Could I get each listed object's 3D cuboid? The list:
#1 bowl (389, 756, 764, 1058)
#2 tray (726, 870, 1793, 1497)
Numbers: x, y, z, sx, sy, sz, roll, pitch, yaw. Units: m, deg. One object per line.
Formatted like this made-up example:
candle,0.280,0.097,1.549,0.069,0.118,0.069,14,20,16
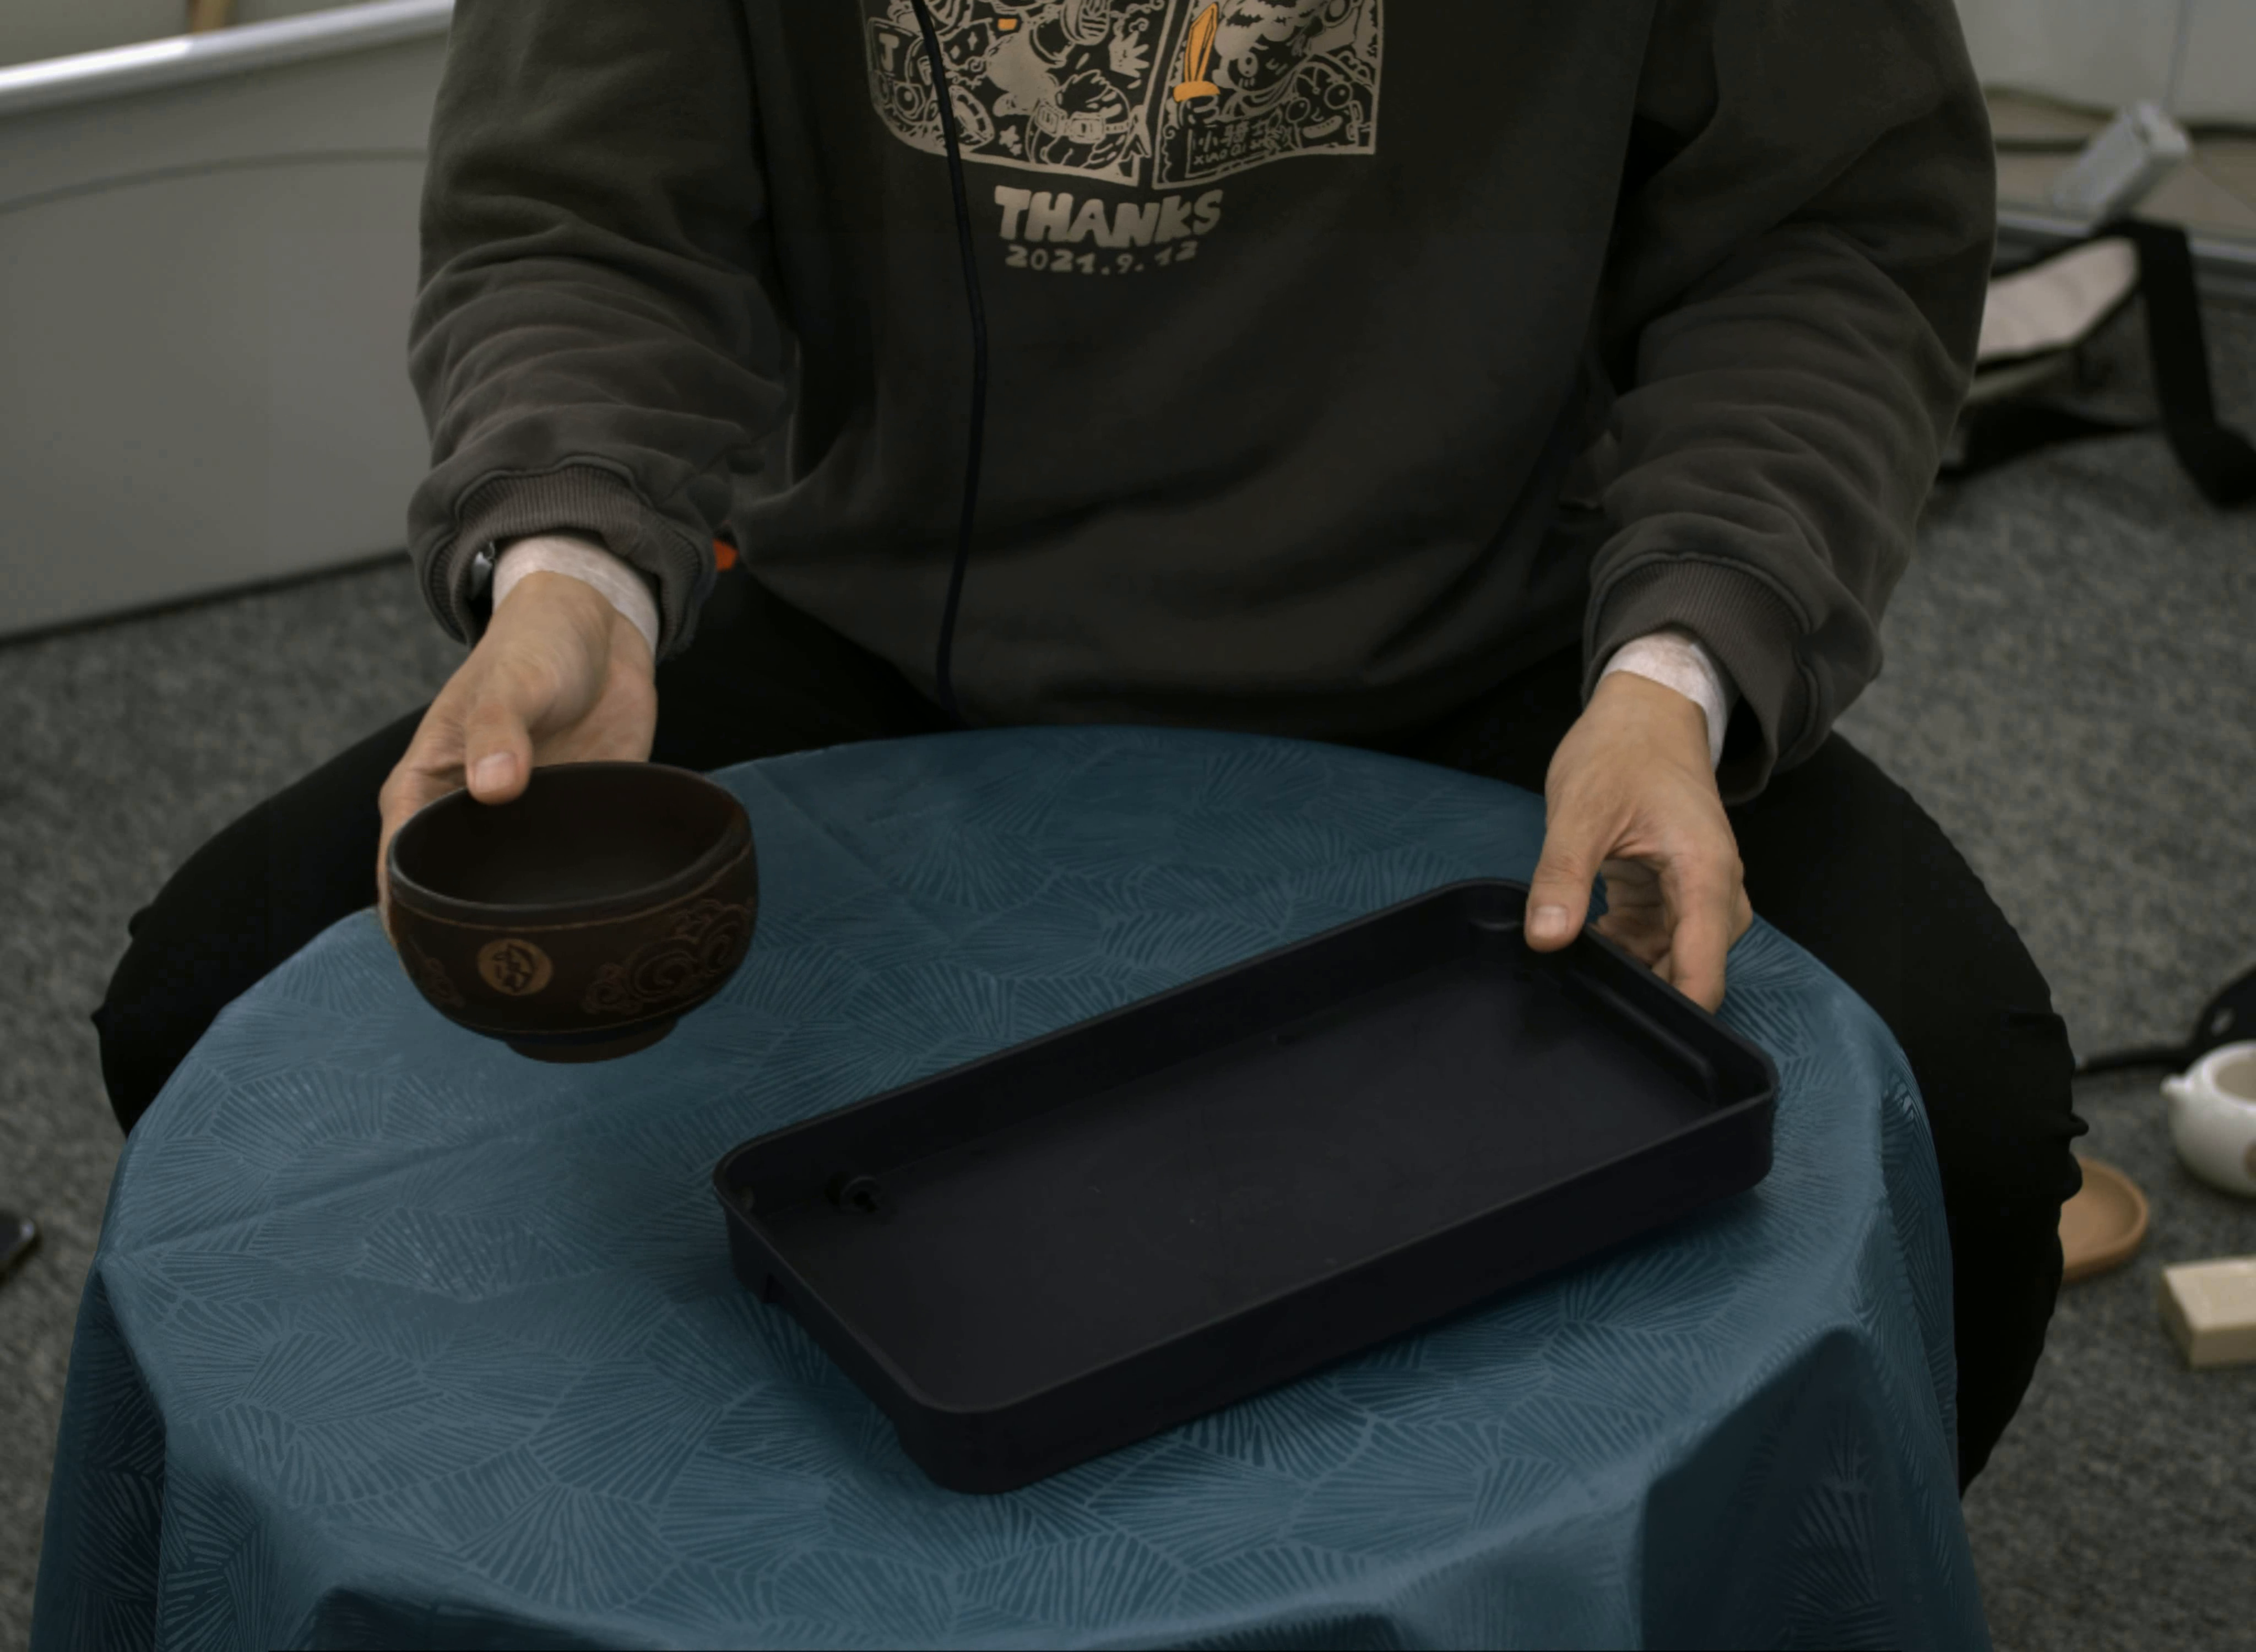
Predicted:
bowl,-0.173,0.031,1.788,0.117,0.069,0.119,-4,22,2
tray,0.044,0.110,1.827,0.320,0.036,0.185,-21,32,-25
